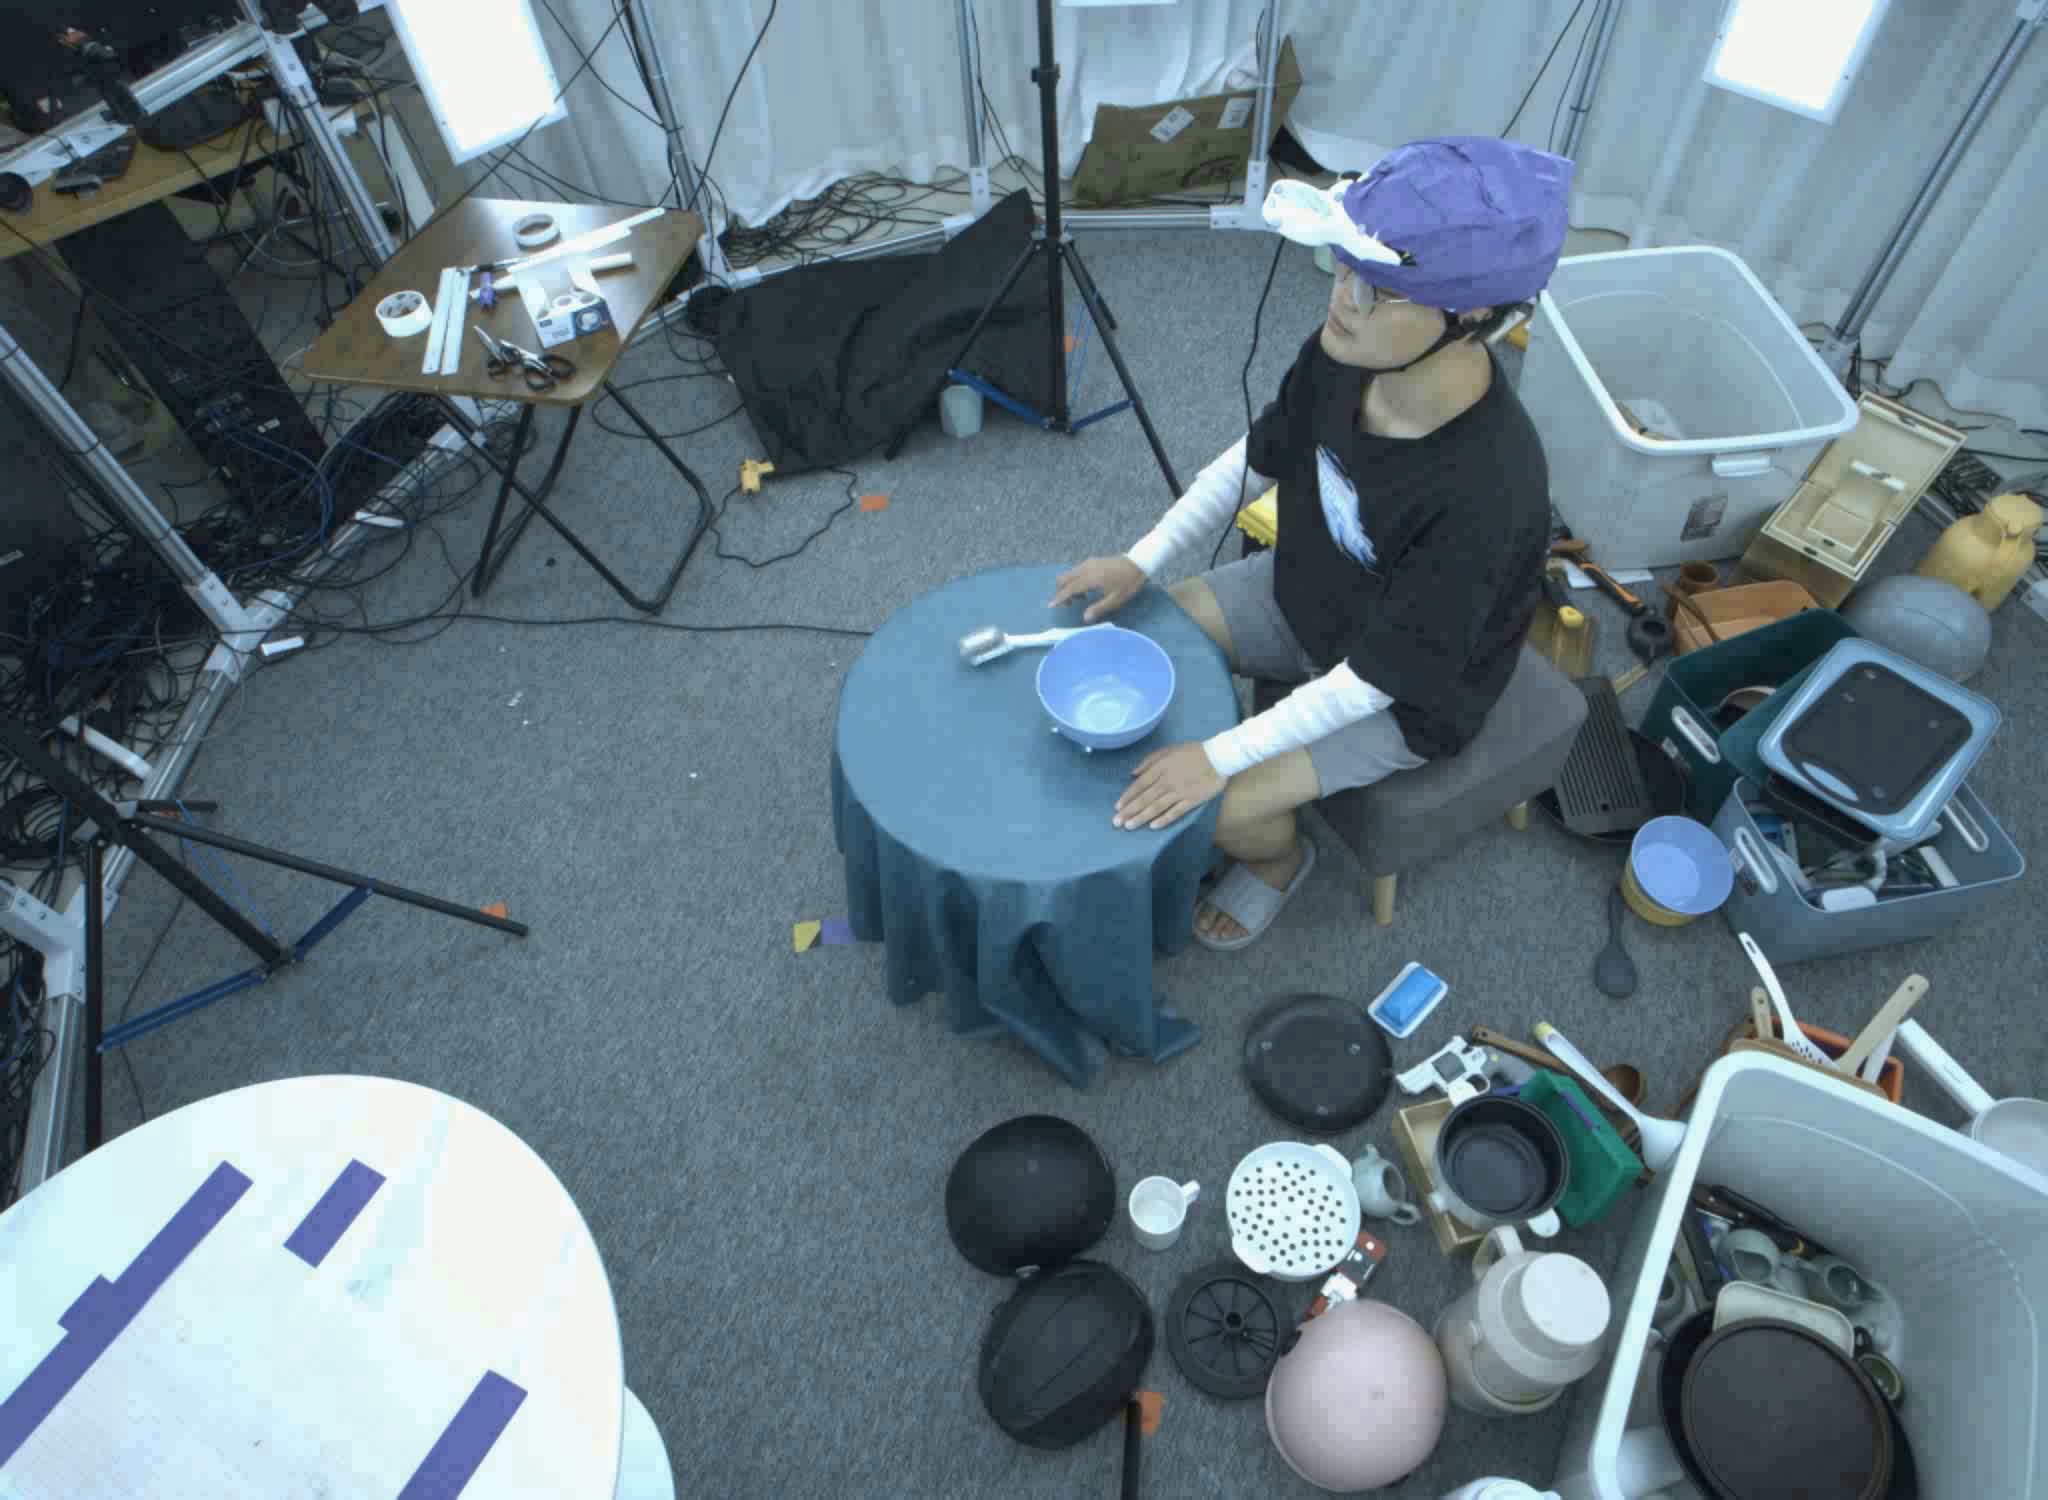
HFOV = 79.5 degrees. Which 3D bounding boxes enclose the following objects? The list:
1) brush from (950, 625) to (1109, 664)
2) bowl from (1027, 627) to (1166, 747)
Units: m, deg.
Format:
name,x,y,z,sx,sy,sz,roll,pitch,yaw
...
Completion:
name,x,y,z,sx,sy,sz,roll,pitch,yaw
brush,0.009,-0.177,1.874,0.244,0.051,0.034,-10,51,-5
bowl,0.105,-0.075,1.774,0.196,0.096,0.194,0,52,1
